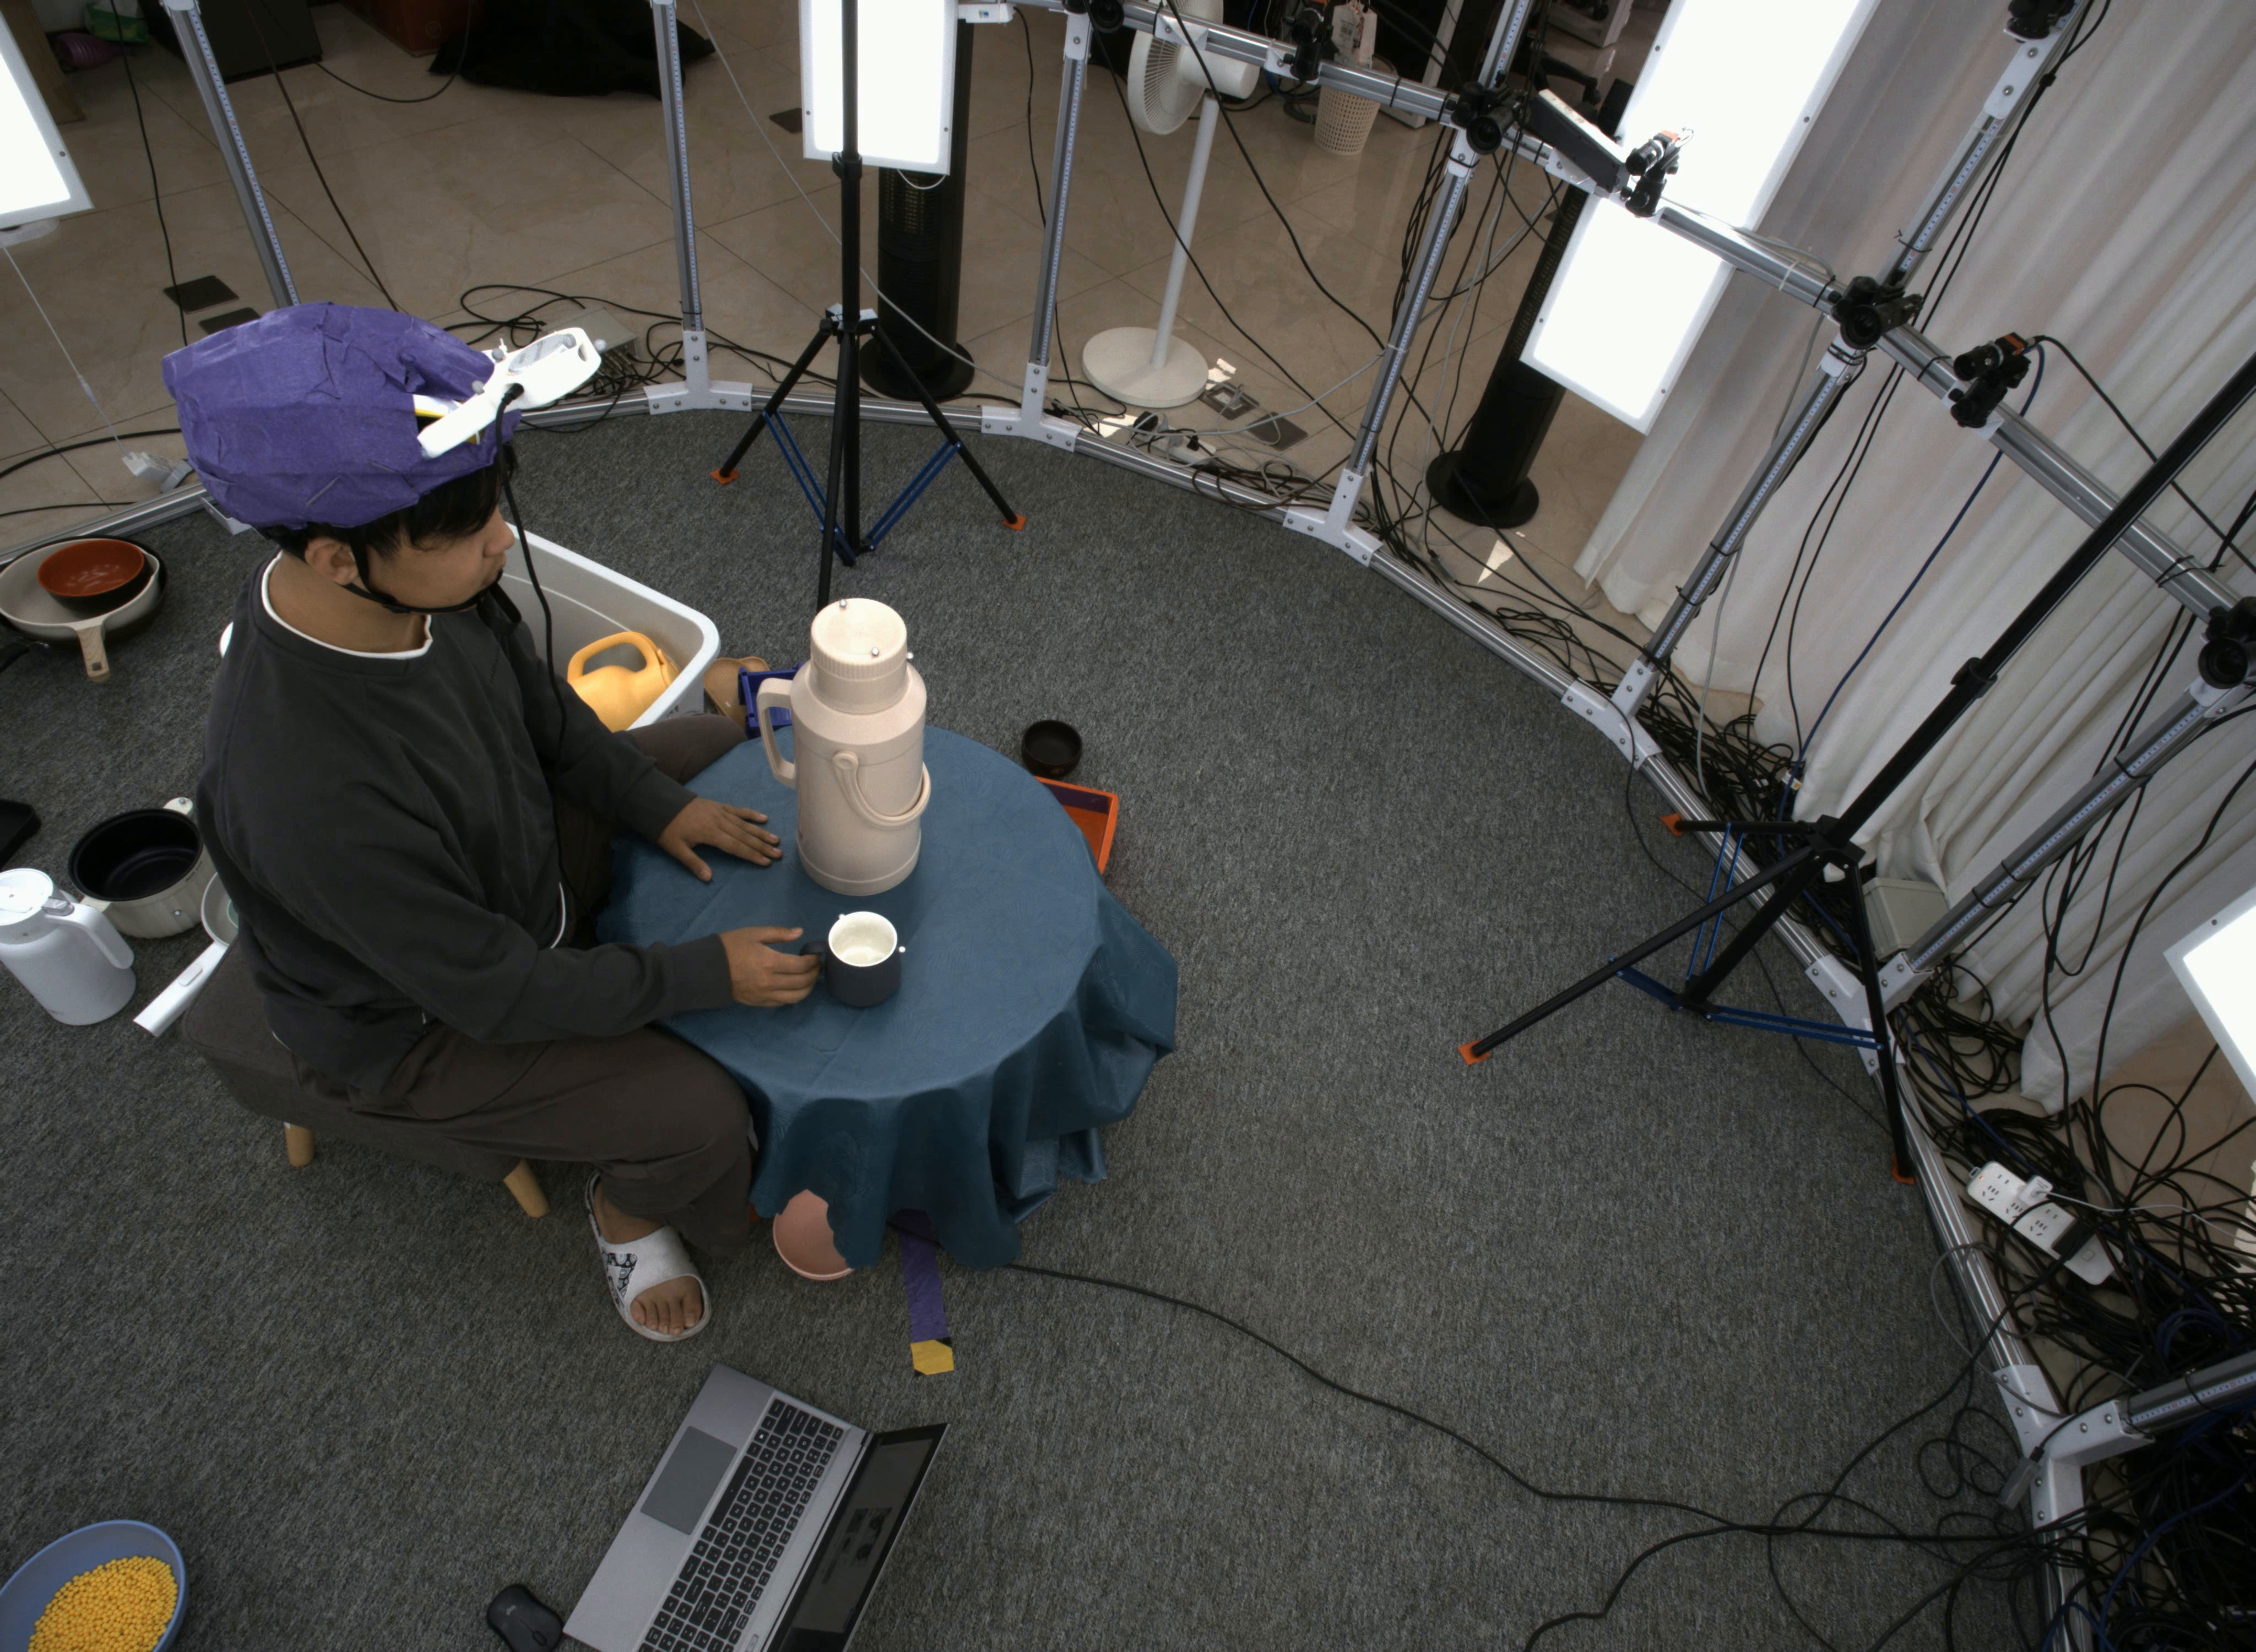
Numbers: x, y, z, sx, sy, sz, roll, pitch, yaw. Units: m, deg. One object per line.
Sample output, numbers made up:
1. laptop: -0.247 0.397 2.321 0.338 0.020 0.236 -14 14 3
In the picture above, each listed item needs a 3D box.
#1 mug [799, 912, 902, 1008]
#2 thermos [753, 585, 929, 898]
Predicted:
1. mug: -0.334 0.158 1.565 0.123 0.092 0.091 2 52 -12
2. thermos: -0.340 -0.099 1.559 0.206 0.415 0.172 7 51 -7
